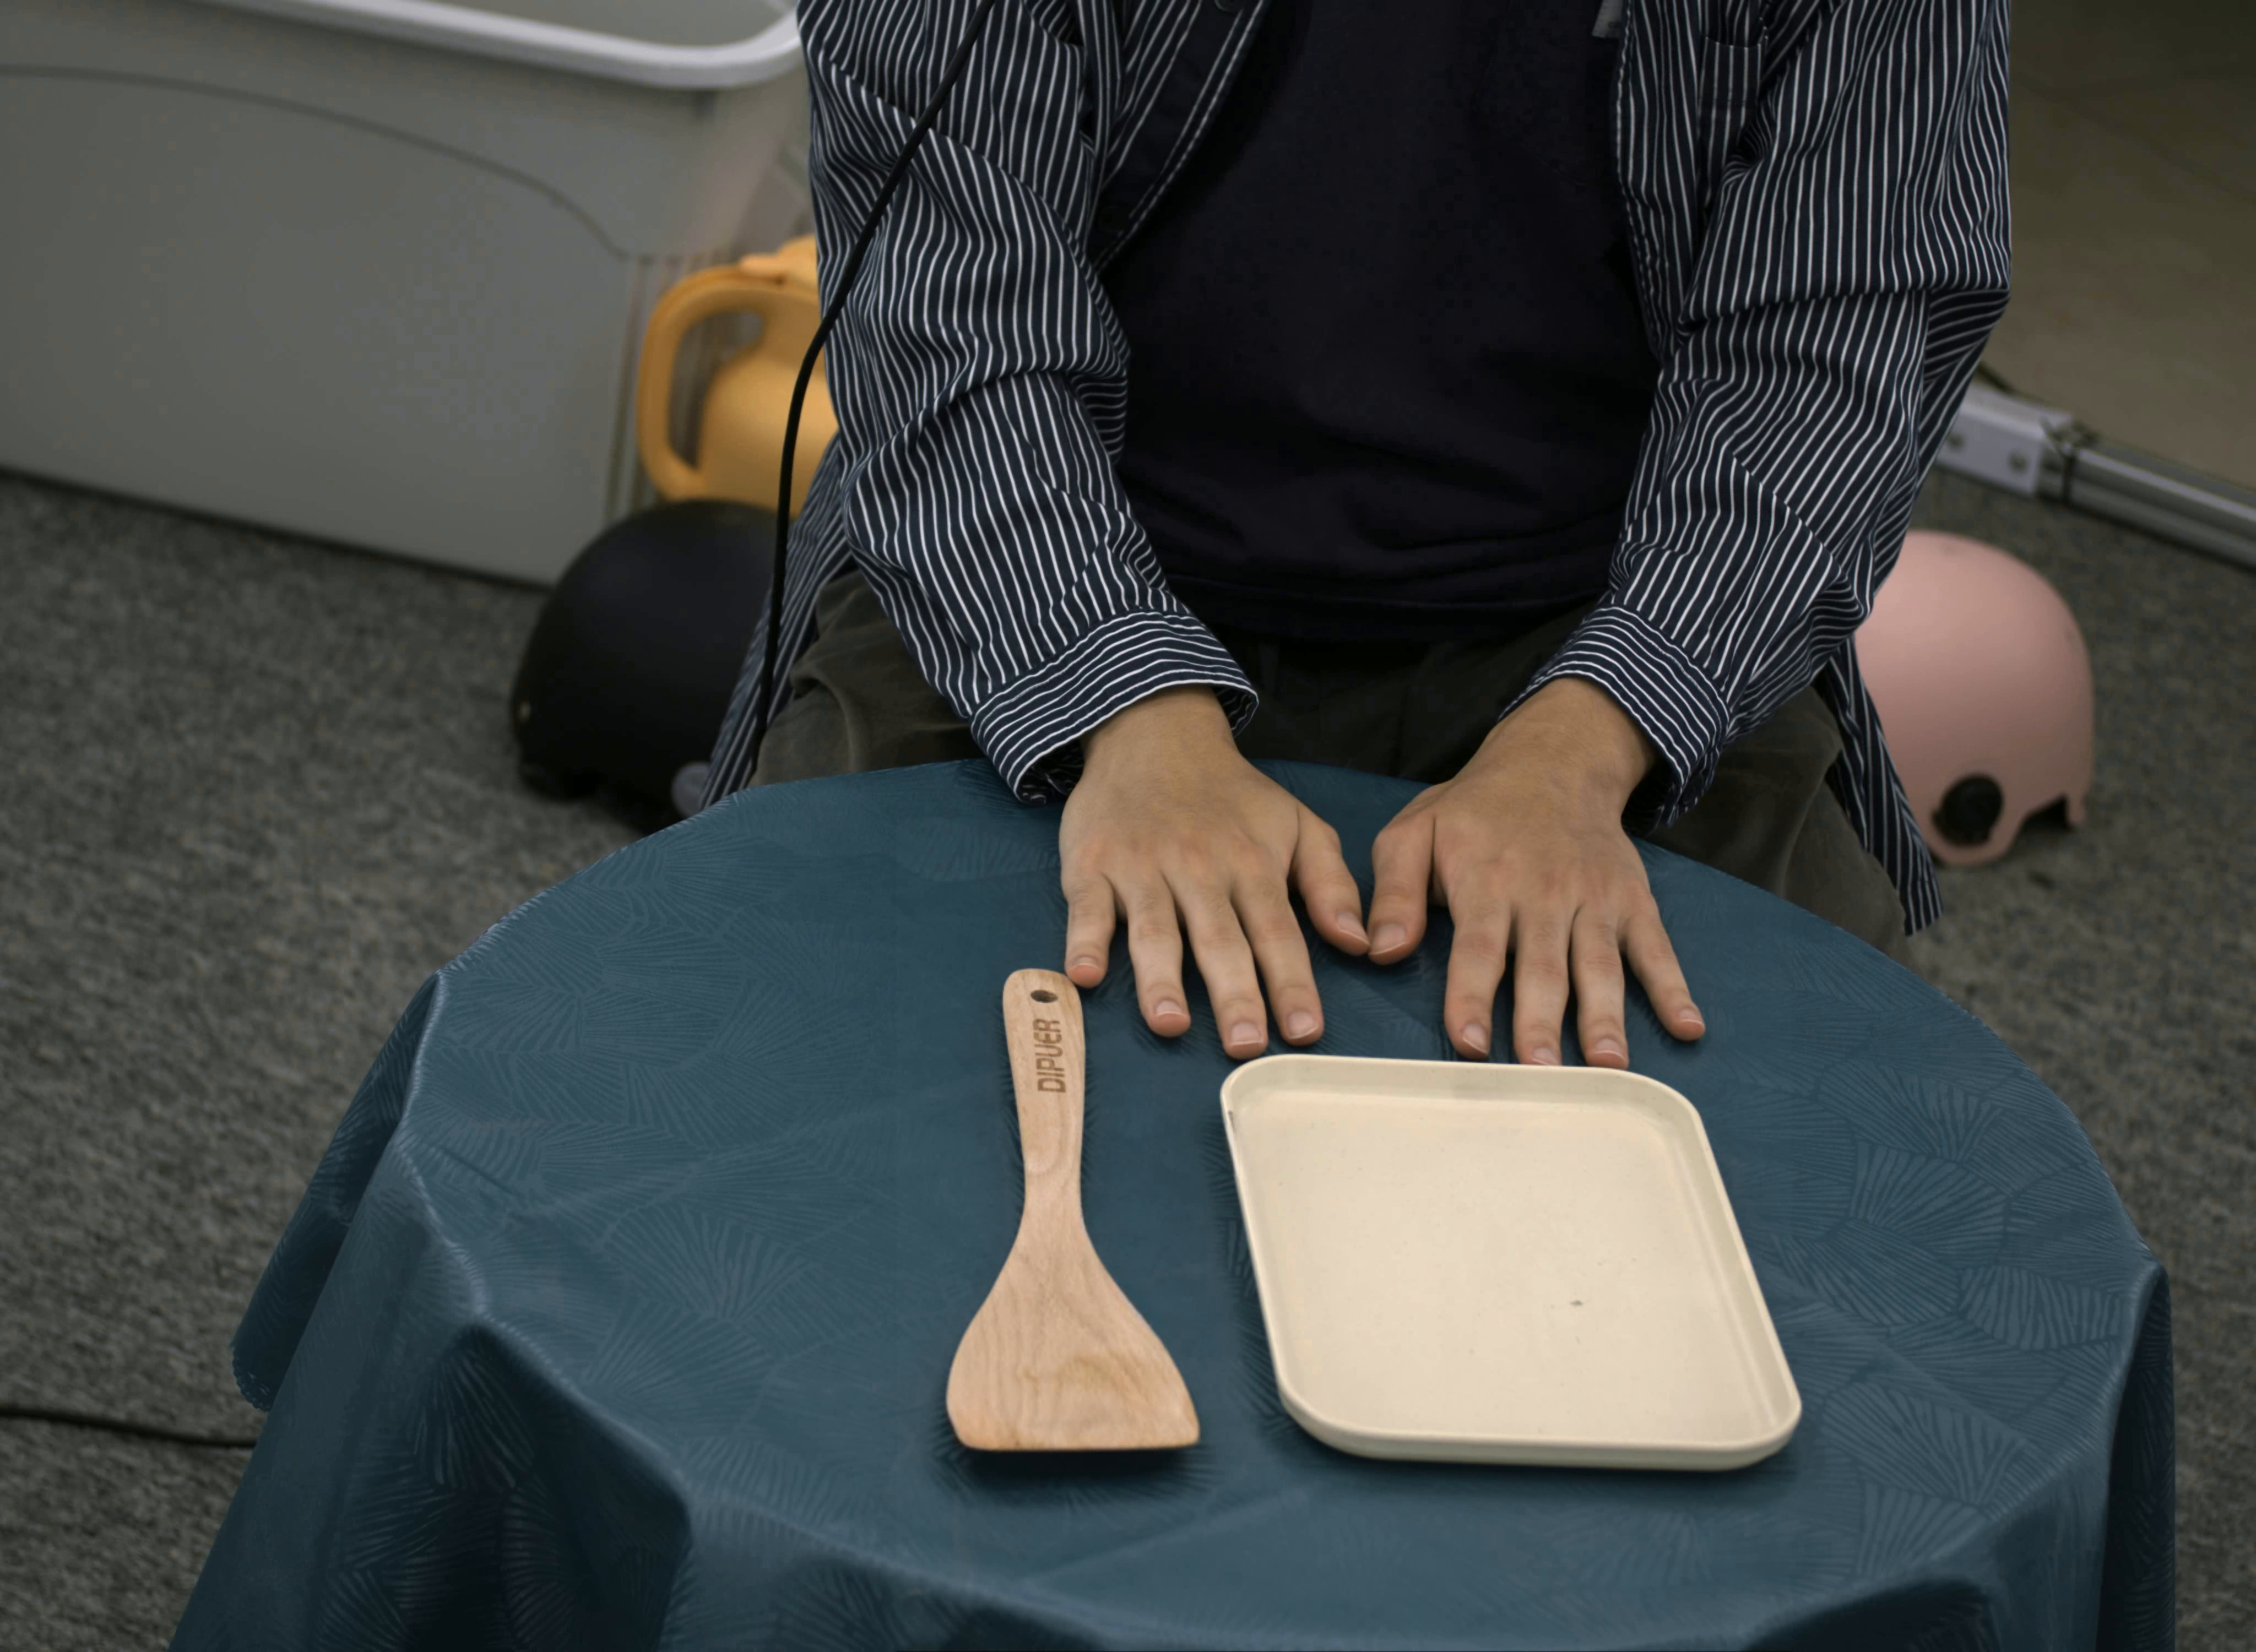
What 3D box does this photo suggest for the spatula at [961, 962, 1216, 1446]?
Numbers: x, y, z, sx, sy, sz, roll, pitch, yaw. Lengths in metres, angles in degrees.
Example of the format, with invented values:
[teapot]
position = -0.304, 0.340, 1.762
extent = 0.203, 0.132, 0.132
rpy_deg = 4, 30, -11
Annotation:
[spatula]
position = -0.022, 0.122, 1.778
extent = 0.079, 0.016, 0.330
rpy_deg = 4, 27, -6

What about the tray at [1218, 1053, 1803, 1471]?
[tray]
position = 0.122, 0.144, 1.765
extent = 0.170, 0.017, 0.241
rpy_deg = 3, 26, -7
